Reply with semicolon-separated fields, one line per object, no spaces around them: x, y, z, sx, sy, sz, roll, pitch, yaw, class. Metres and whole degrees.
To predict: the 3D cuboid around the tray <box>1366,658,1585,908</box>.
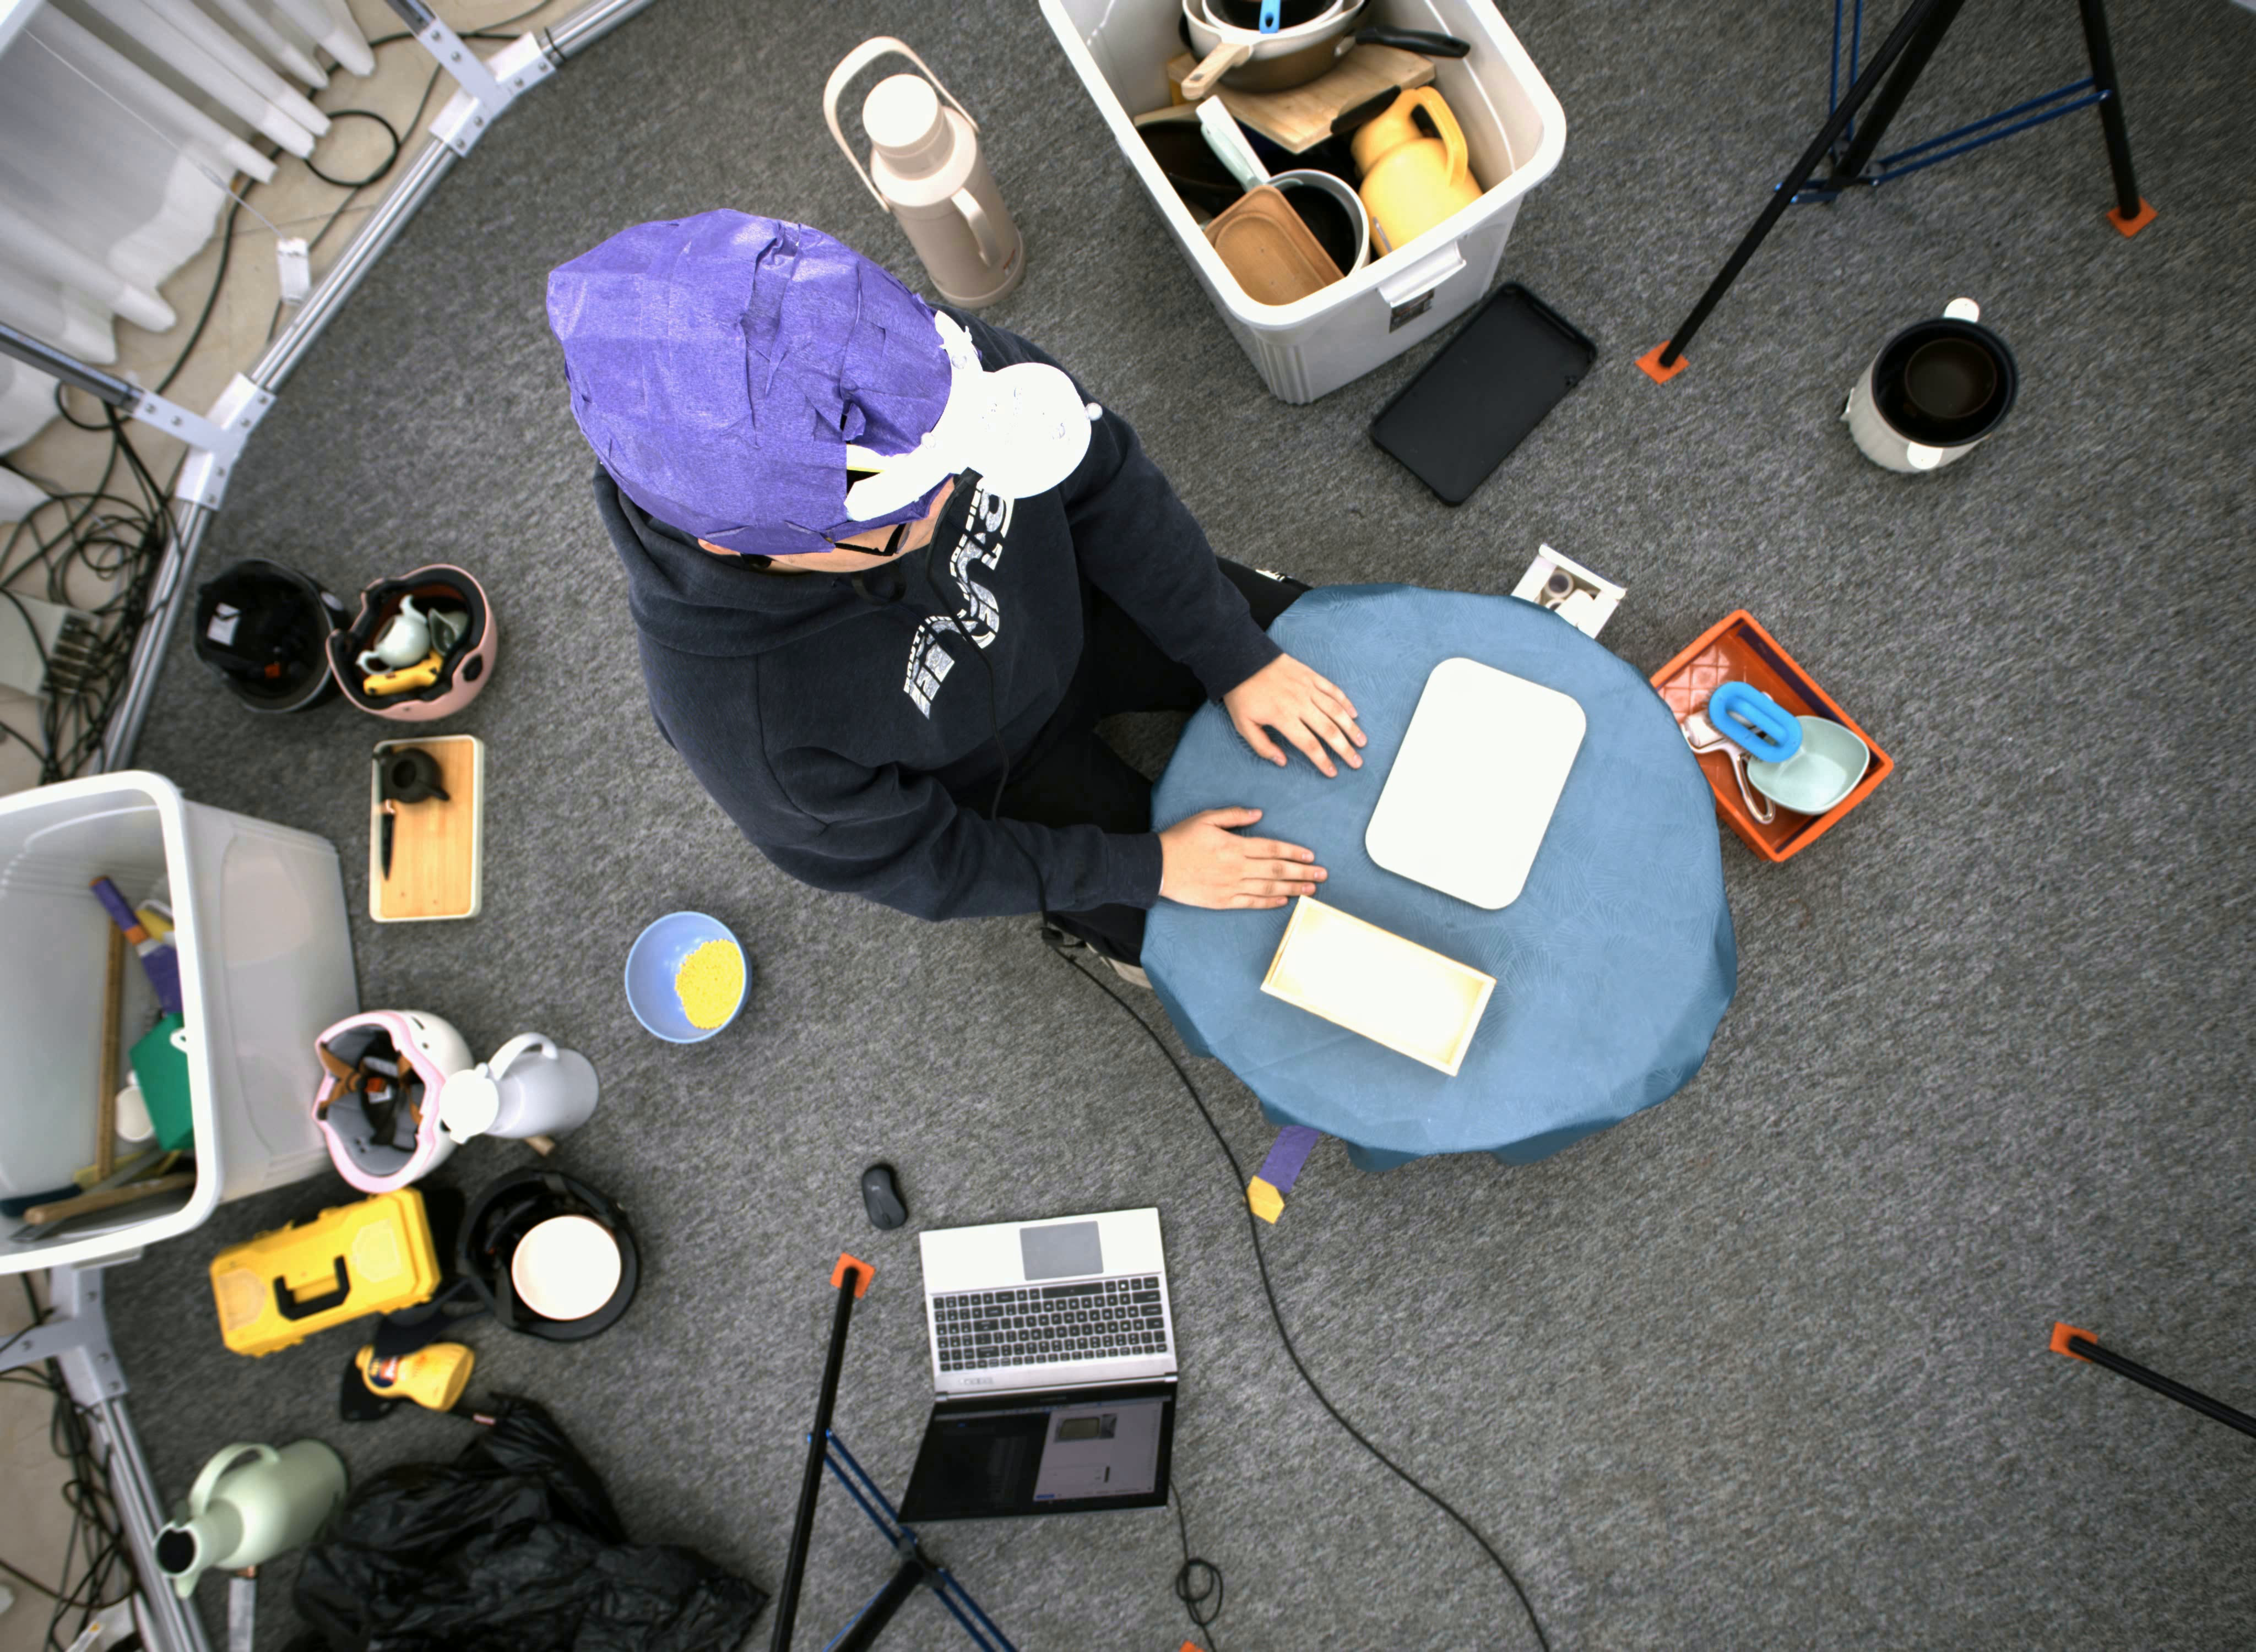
0.364;-0.048;1.441;0.171;0.017;0.239;22;91;12;tray

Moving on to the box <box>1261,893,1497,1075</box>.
0.256;0.160;1.418;0.211;0.080;0.107;23;89;12;box
